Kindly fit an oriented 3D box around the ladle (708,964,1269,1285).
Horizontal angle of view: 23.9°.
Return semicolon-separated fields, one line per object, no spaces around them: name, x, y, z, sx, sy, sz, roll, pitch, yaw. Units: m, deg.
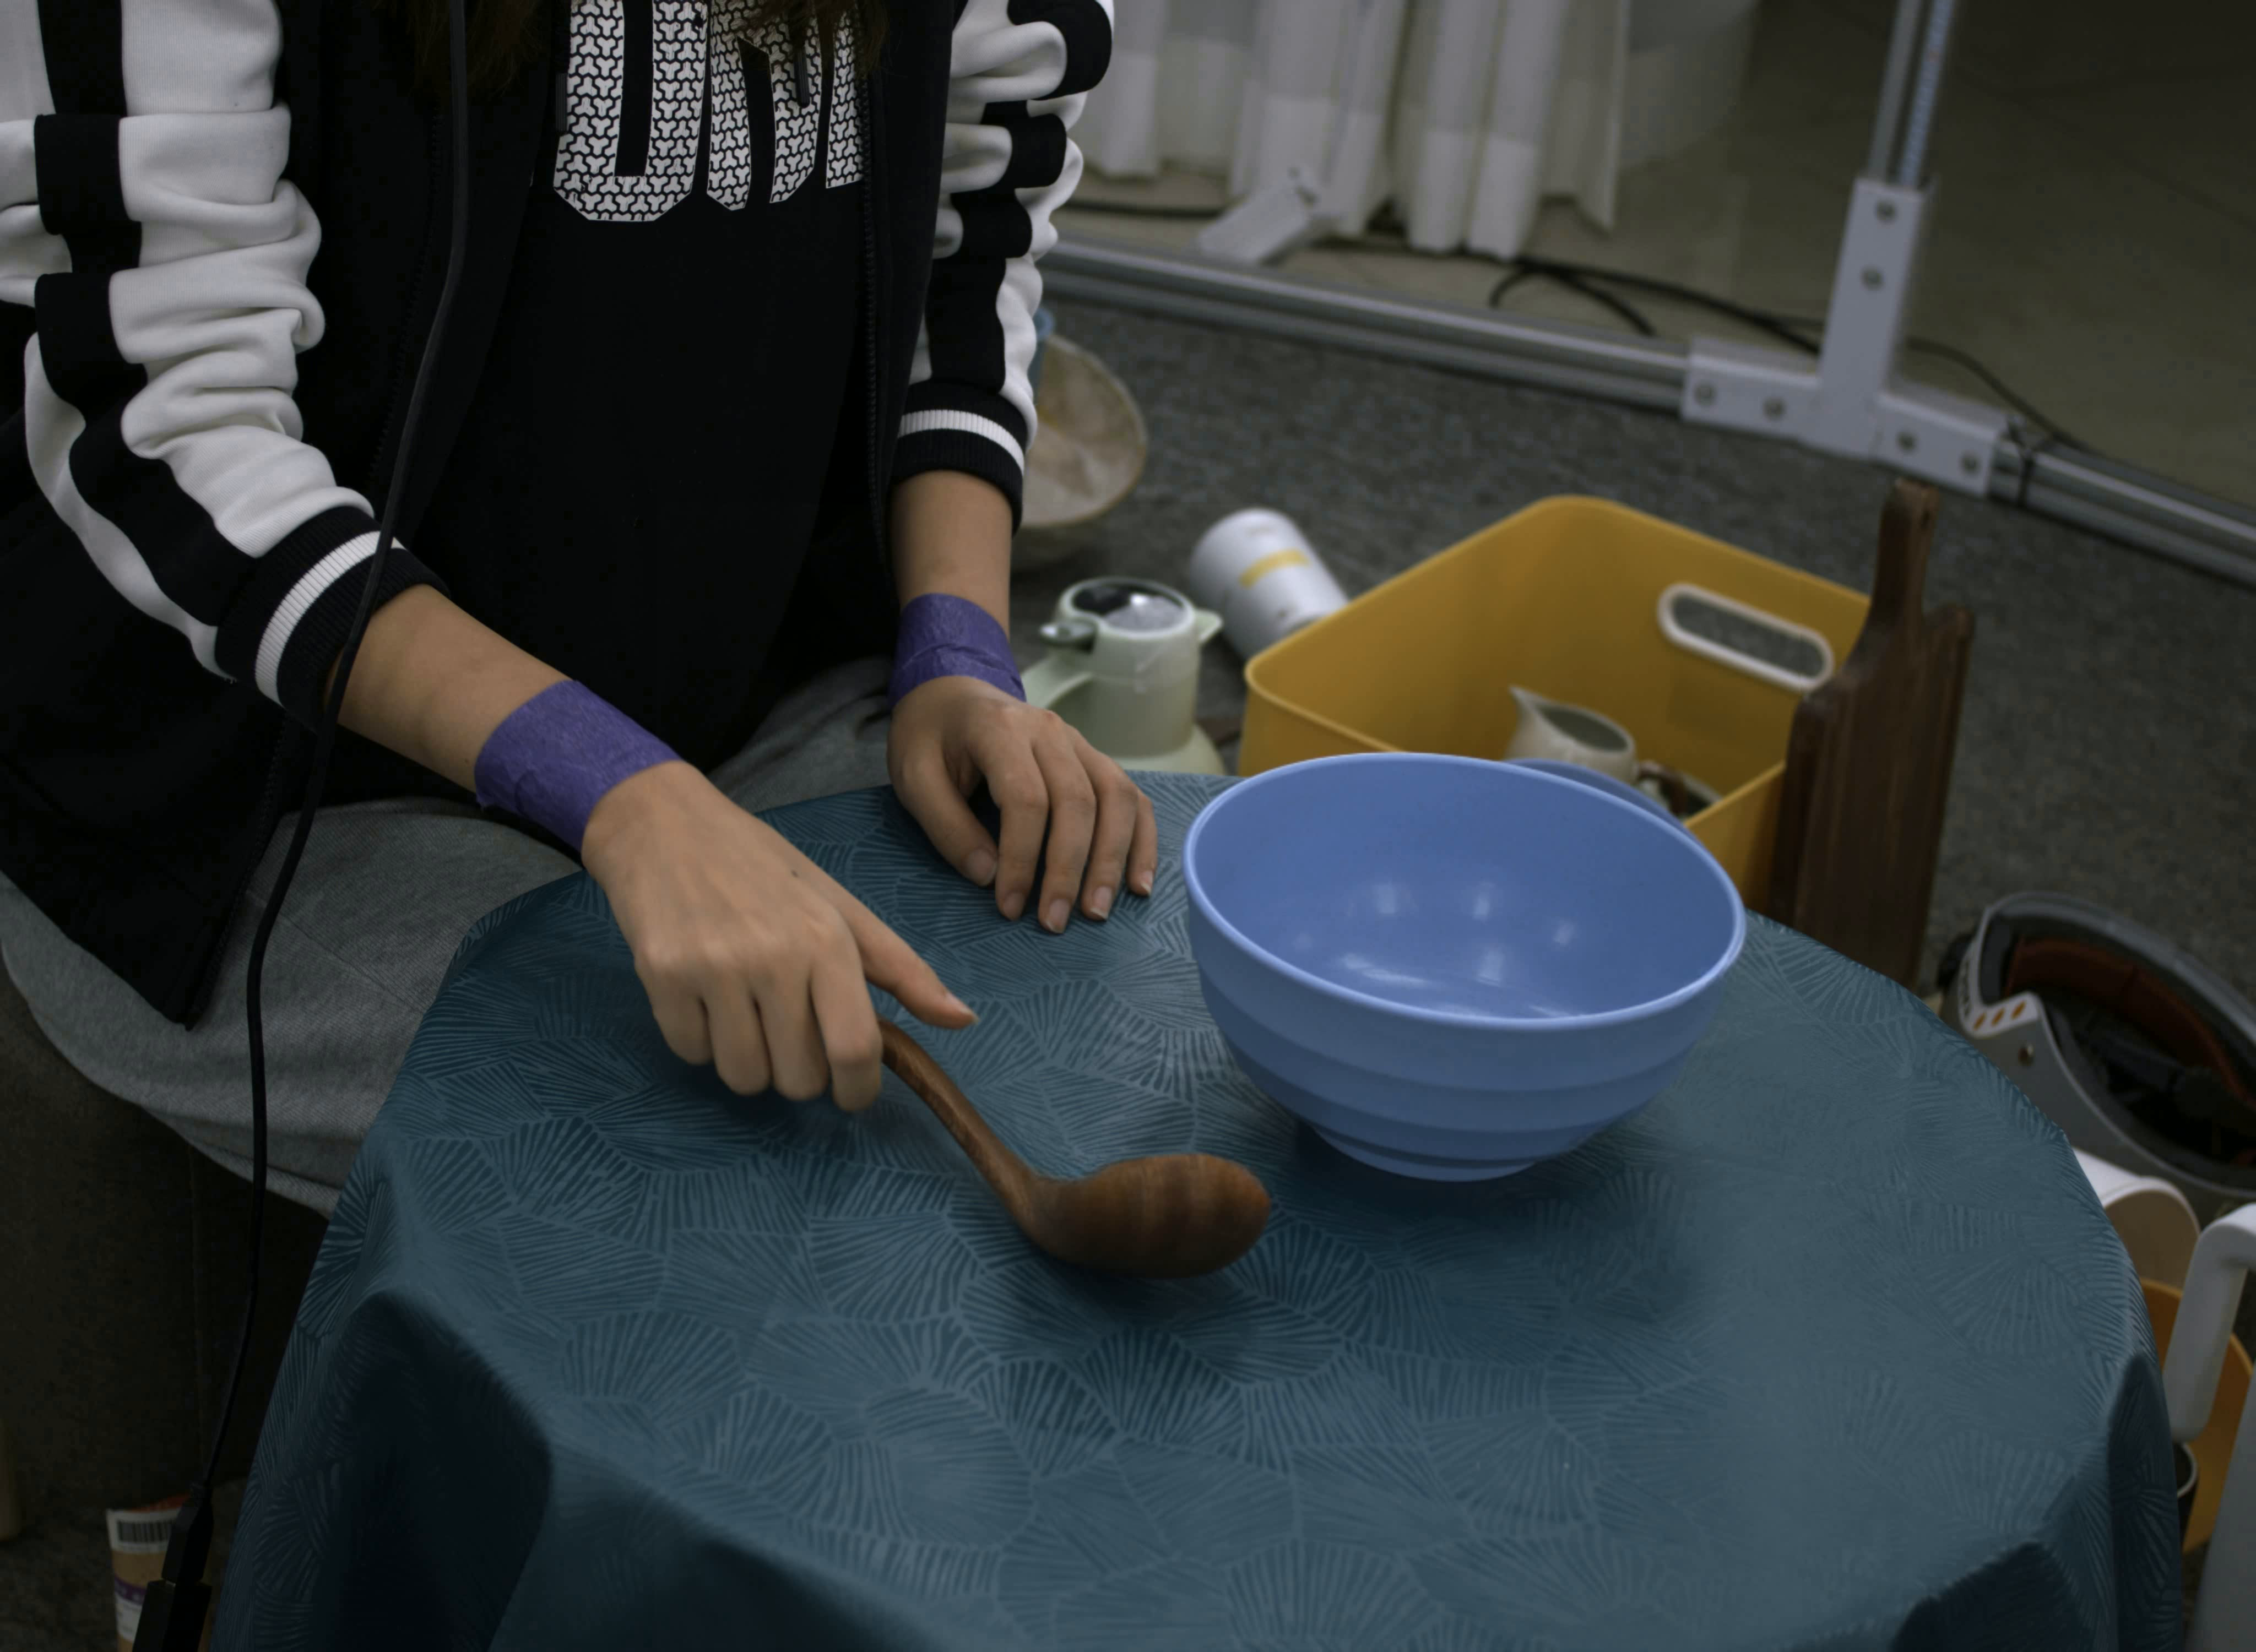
ladle;-0.052;0.086;1.798;0.262;0.065;0.076;34;4;43

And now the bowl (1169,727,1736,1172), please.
bowl;0.109;0.056;1.855;0.196;0.095;0.198;3;33;-2
